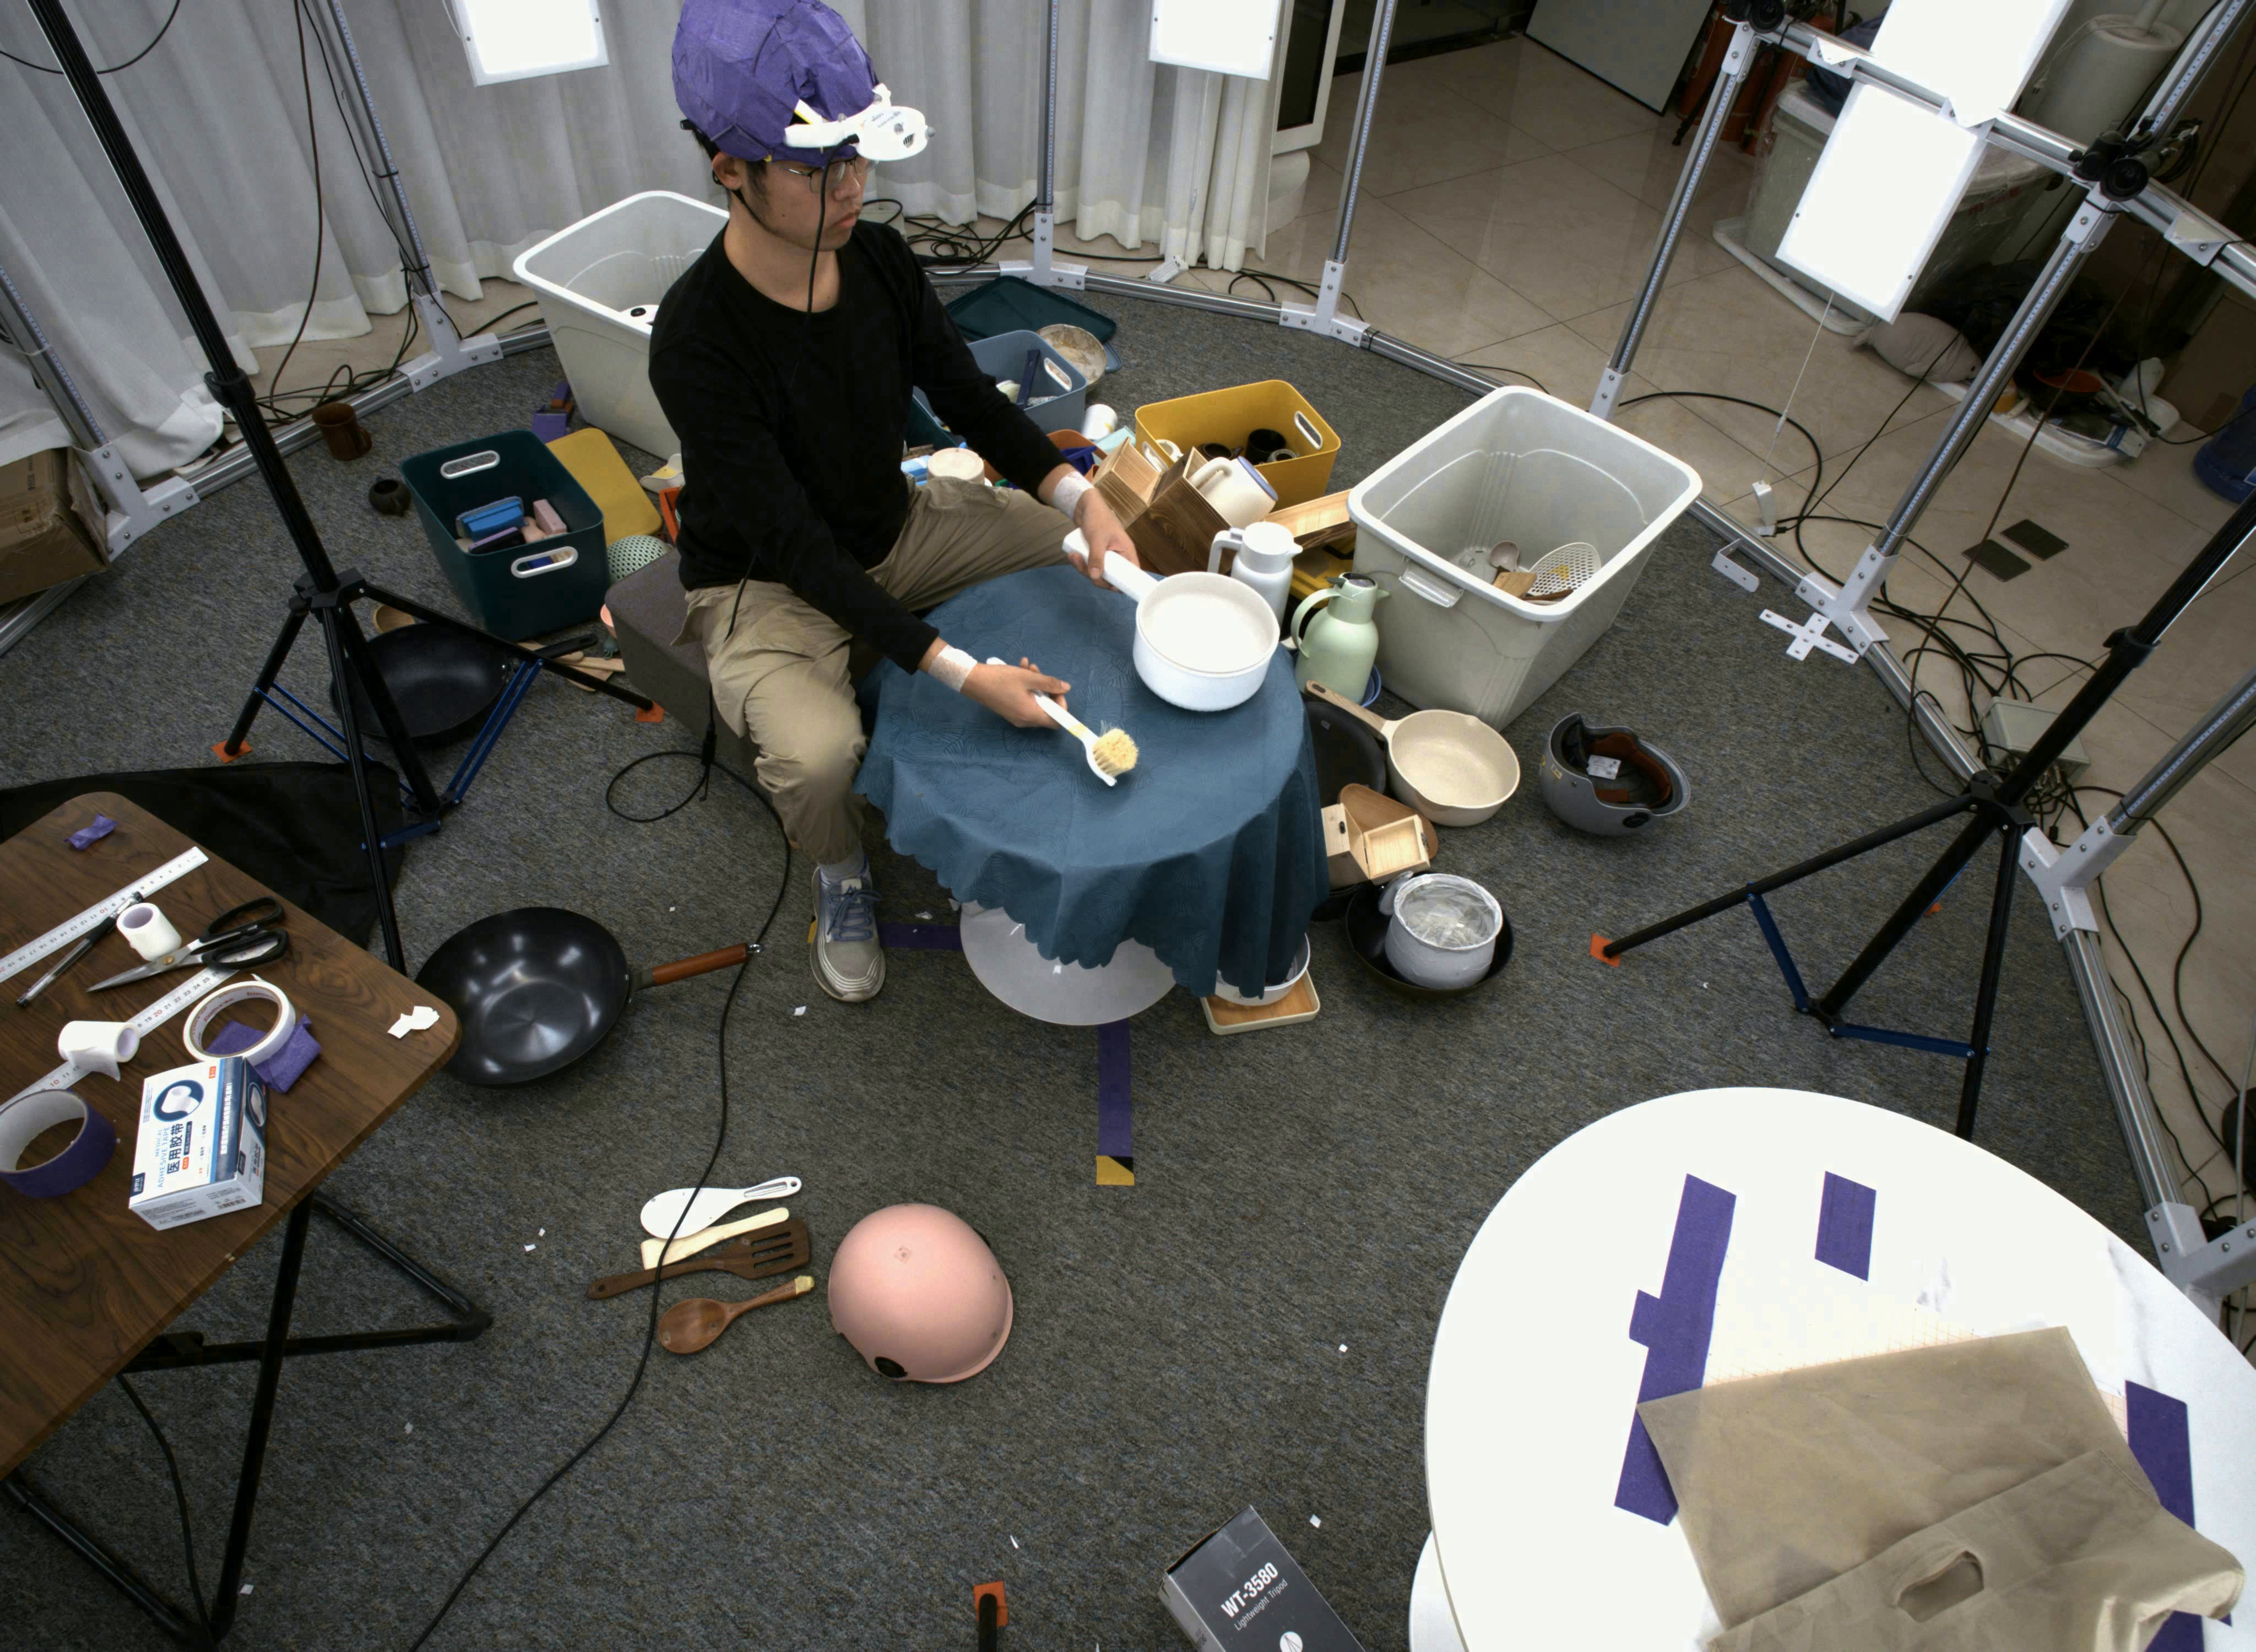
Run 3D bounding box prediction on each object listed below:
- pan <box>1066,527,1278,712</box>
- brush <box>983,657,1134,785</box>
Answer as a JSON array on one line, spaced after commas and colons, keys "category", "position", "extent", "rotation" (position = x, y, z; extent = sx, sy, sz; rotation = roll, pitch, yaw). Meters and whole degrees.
[{"category": "pan", "position": [0.049, -0.301, 1.859], "extent": [0.359, 0.100, 0.203], "rotation": [37, 58, 21]}, {"category": "brush", "position": [-0.095, -0.159, 1.729], "extent": [0.270, 0.055, 0.068], "rotation": [45, 30, 18]}]
